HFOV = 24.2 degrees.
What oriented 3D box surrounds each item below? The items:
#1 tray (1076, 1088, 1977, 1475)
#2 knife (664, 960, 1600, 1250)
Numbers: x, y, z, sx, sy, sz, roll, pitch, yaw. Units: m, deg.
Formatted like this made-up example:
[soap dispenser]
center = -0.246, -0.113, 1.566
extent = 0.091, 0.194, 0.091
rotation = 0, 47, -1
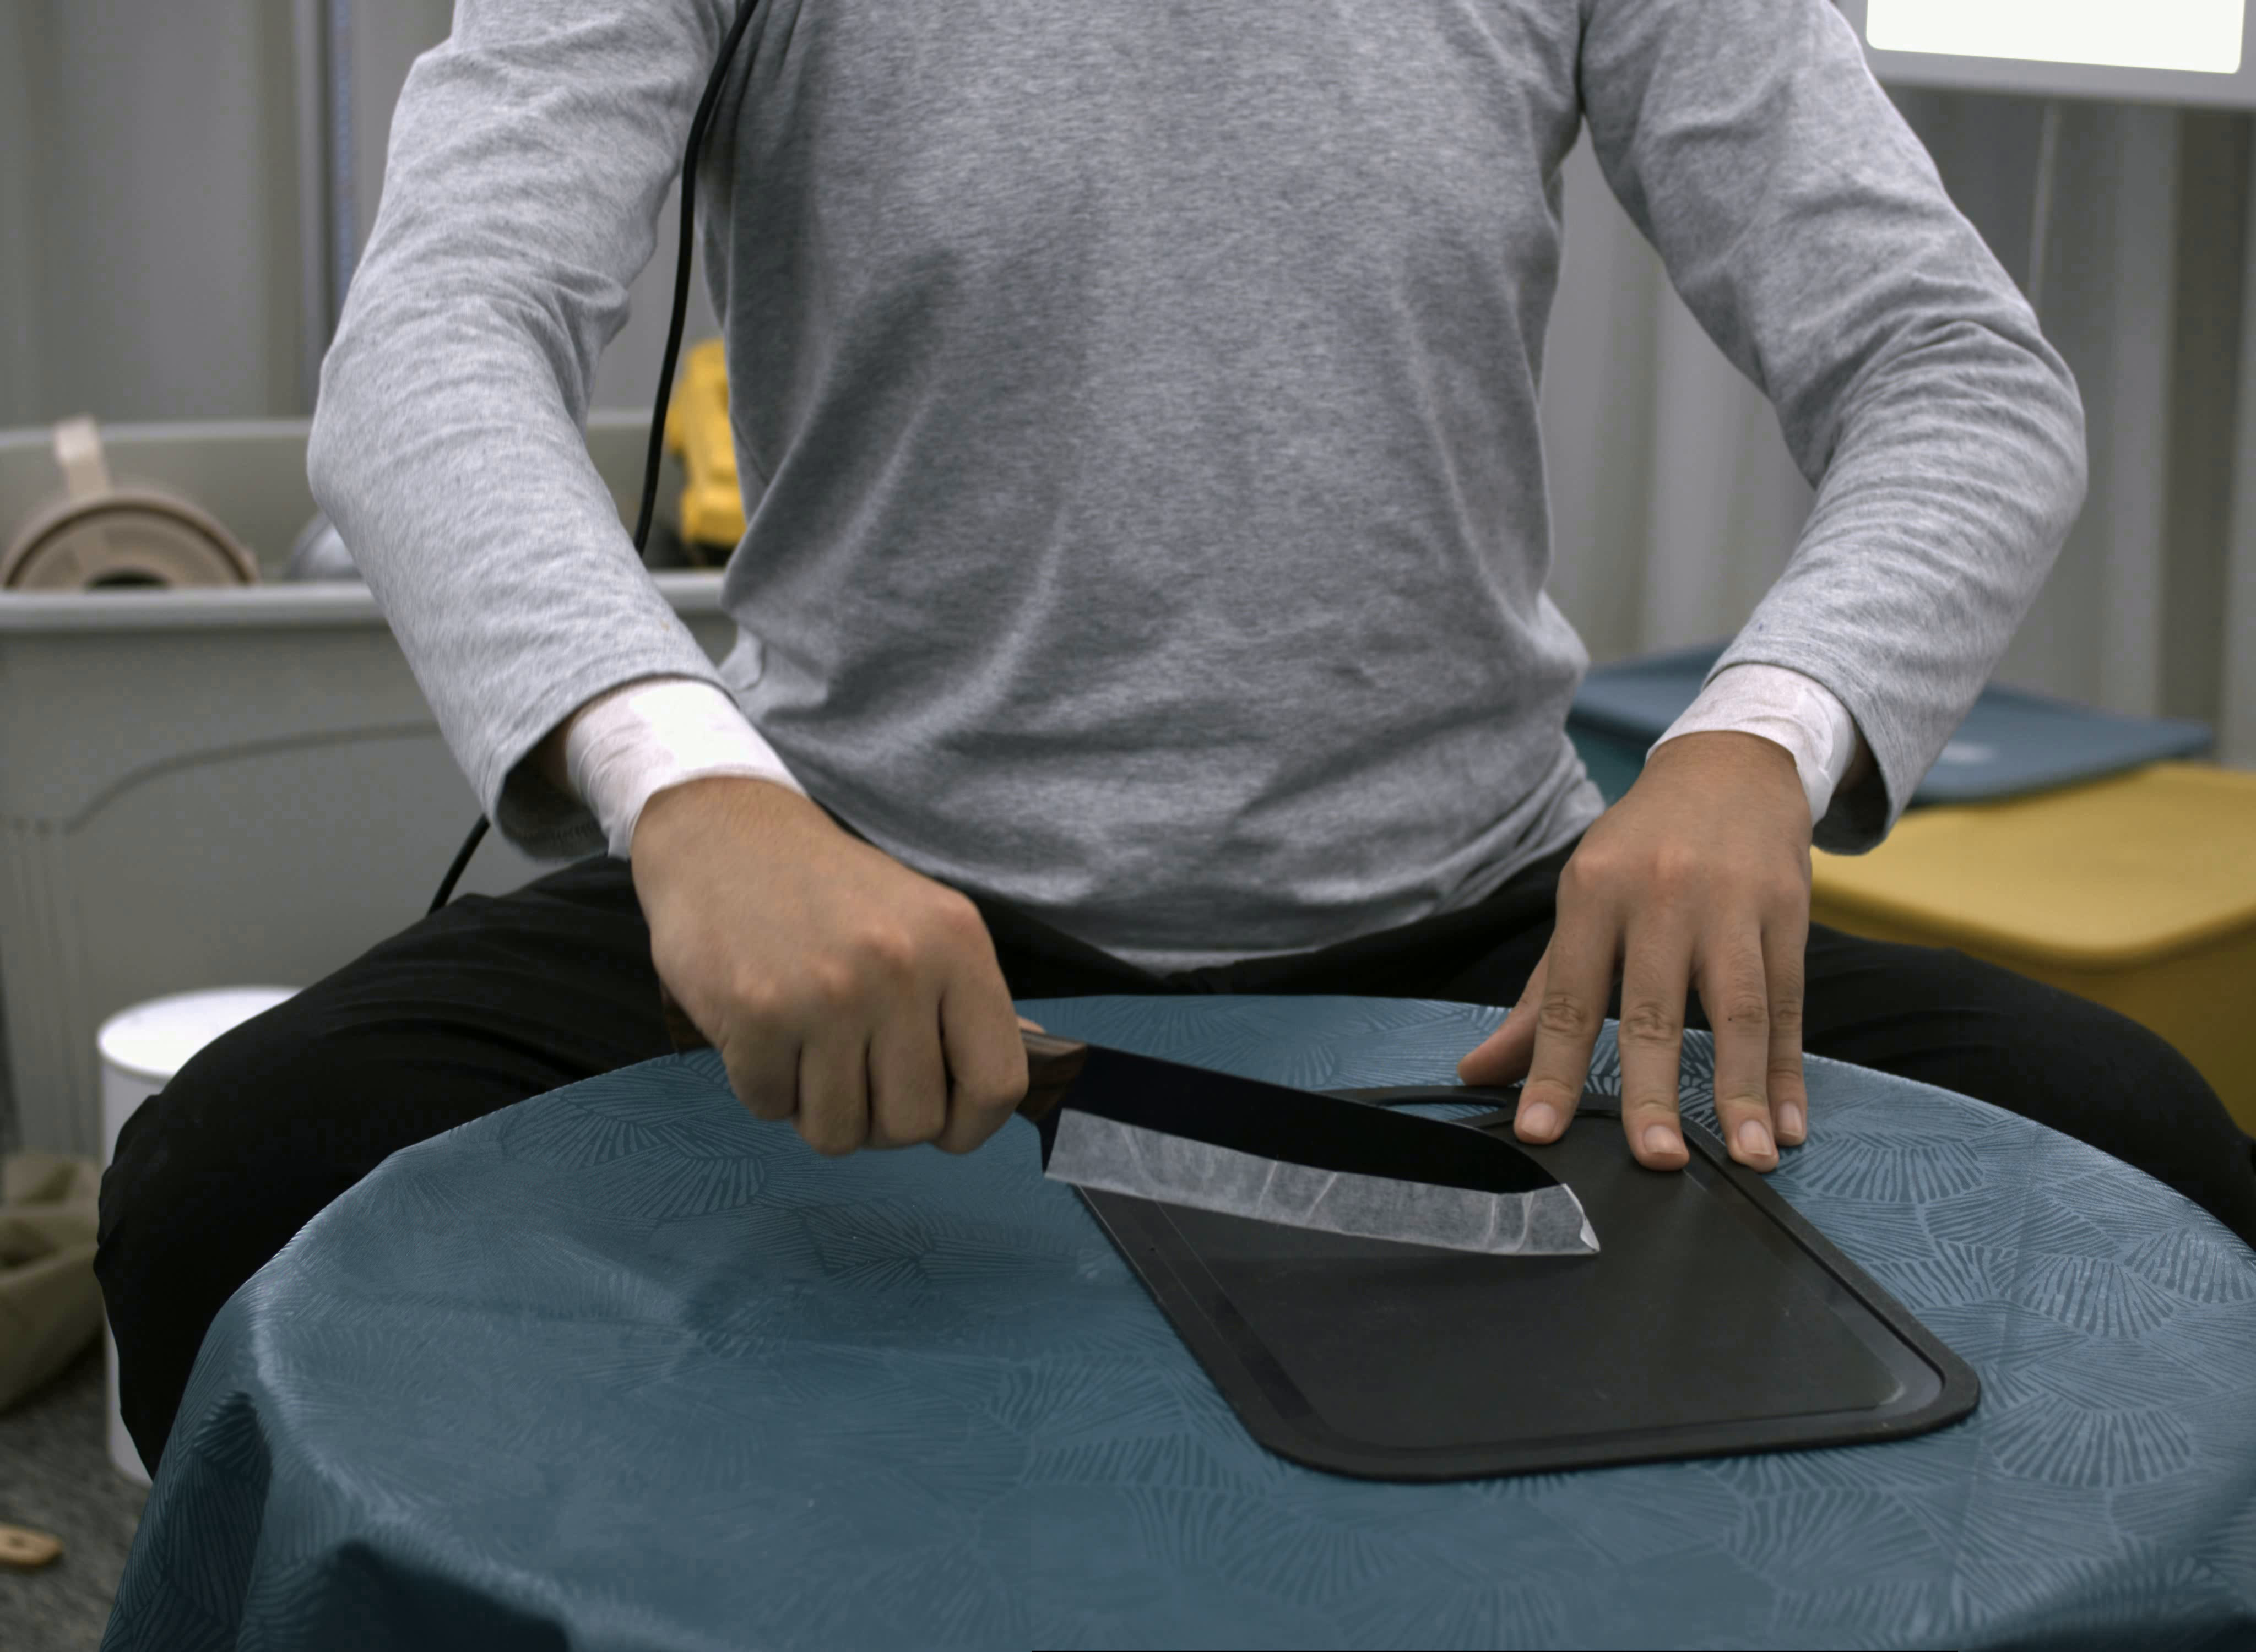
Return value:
[tray]
center = 0.107, 0.127, 1.564
extent = 0.211, 0.010, 0.322
rotation = -3, 15, -13
[knife]
center = 0.002, 0.084, 1.553
extent = 0.289, 0.050, 0.020
rotation = 15, 18, -5
